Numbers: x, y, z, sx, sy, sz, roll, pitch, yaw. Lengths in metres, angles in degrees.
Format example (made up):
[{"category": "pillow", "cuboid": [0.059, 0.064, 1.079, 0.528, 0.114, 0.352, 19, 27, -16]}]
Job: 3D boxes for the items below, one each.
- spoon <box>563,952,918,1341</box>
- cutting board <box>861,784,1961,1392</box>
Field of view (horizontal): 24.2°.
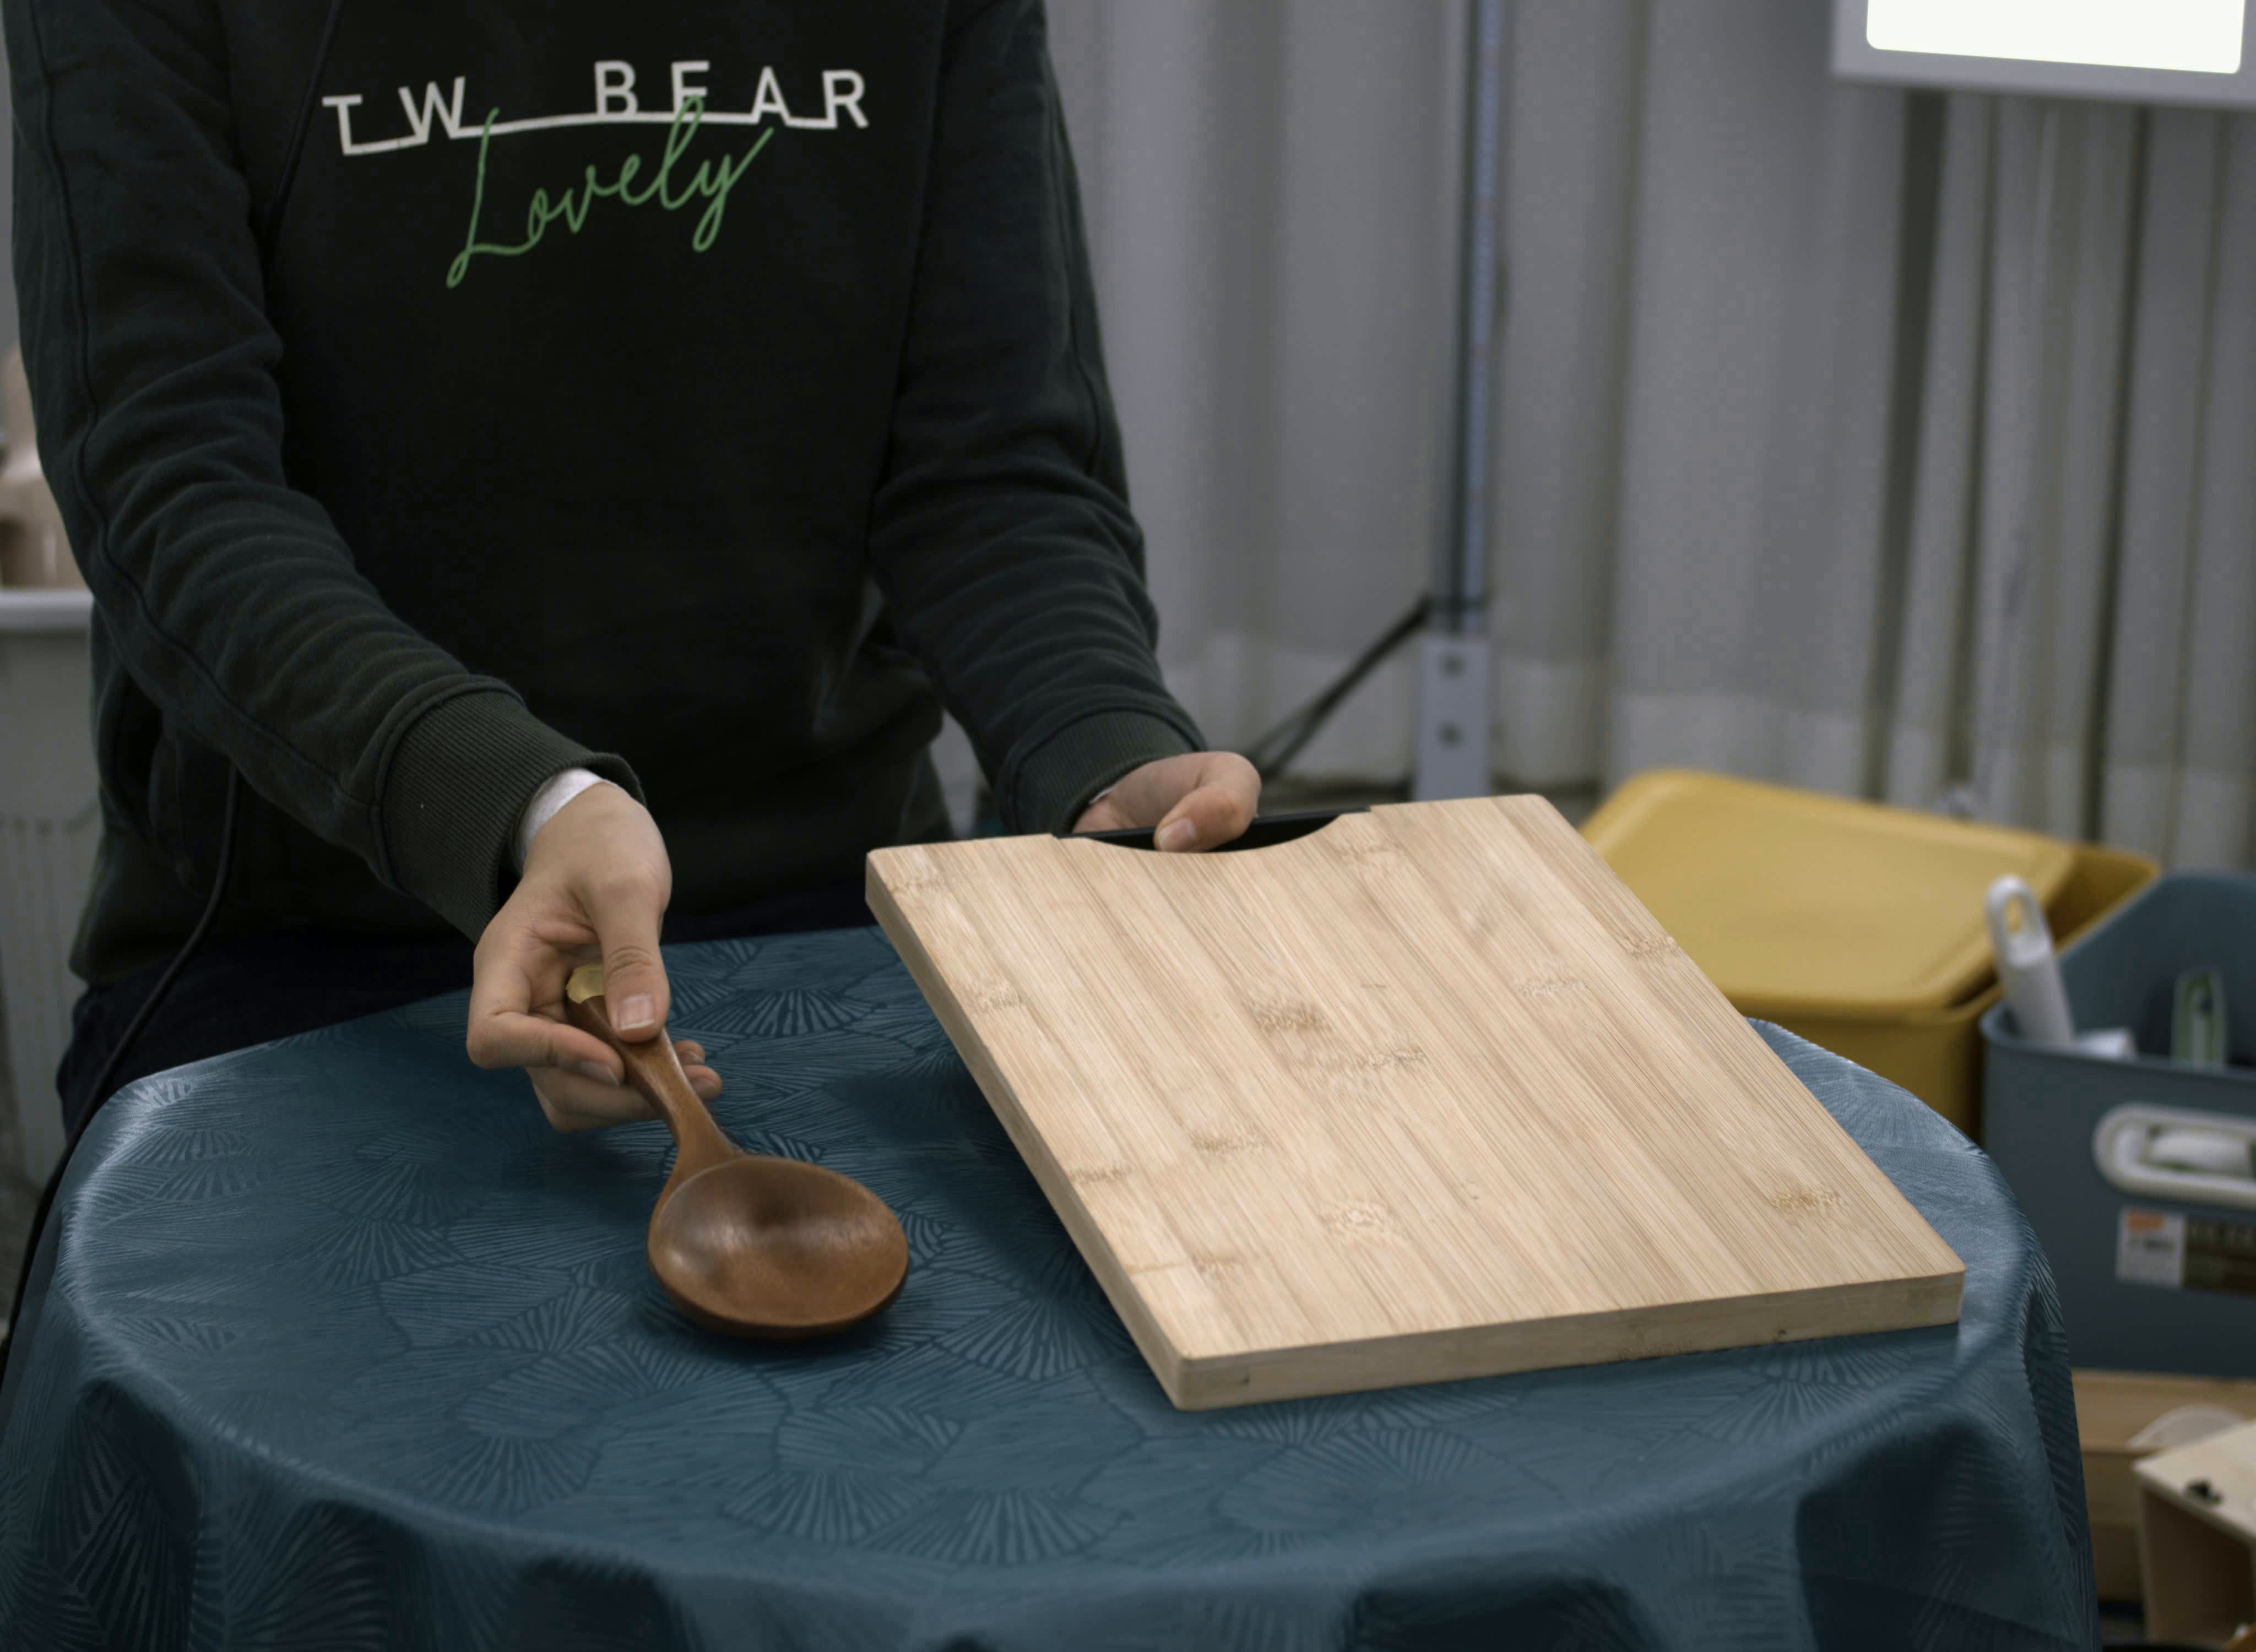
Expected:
[{"category": "spoon", "cuboid": [-0.125, 0.095, 1.568, 0.075, 0.017, 0.213, -13, 34, -20]}, {"category": "cutting board", "cuboid": [0.076, 0.073, 1.633, 0.251, 0.024, 0.344, -4, 26, -19]}]
